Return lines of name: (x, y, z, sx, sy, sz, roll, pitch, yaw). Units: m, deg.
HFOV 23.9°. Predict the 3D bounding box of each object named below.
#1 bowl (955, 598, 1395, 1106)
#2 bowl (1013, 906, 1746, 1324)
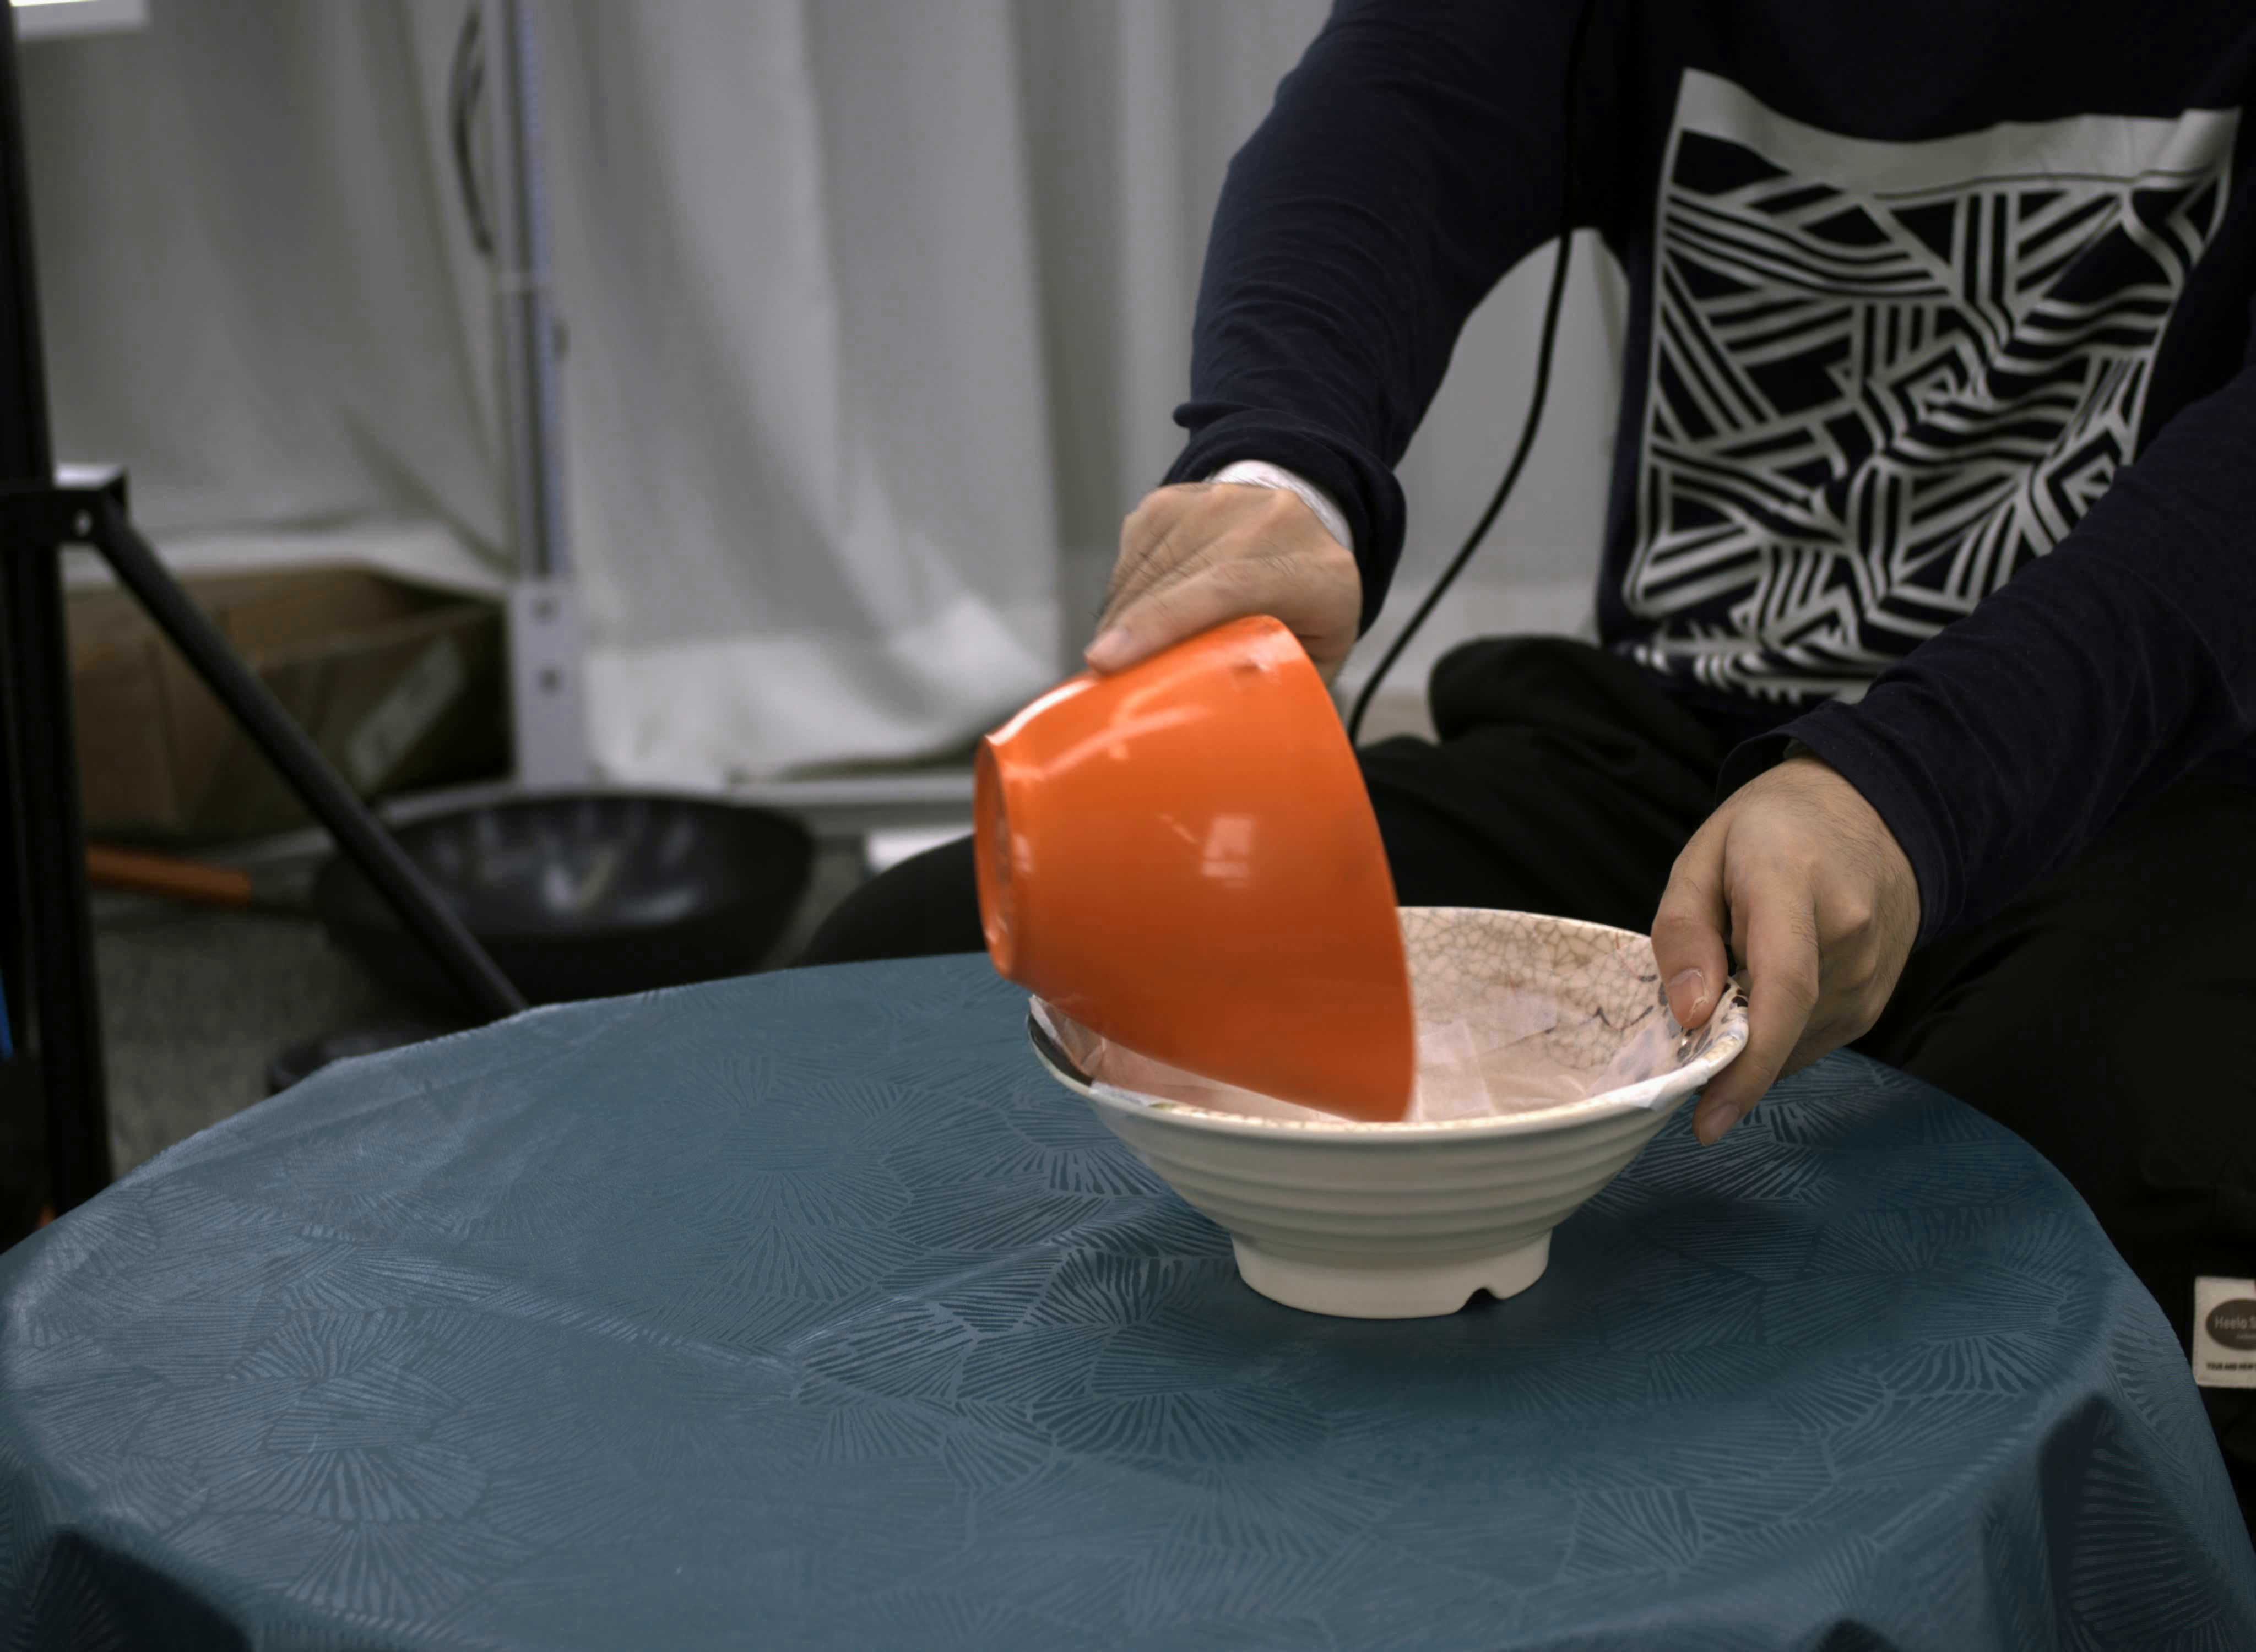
bowl: (0.009, 0.013, 1.457, 0.103, 0.148, 0.150, -4, 16, -10)
bowl: (0.070, 0.088, 1.482, 0.203, 0.078, 0.205, -1, 15, -1)
